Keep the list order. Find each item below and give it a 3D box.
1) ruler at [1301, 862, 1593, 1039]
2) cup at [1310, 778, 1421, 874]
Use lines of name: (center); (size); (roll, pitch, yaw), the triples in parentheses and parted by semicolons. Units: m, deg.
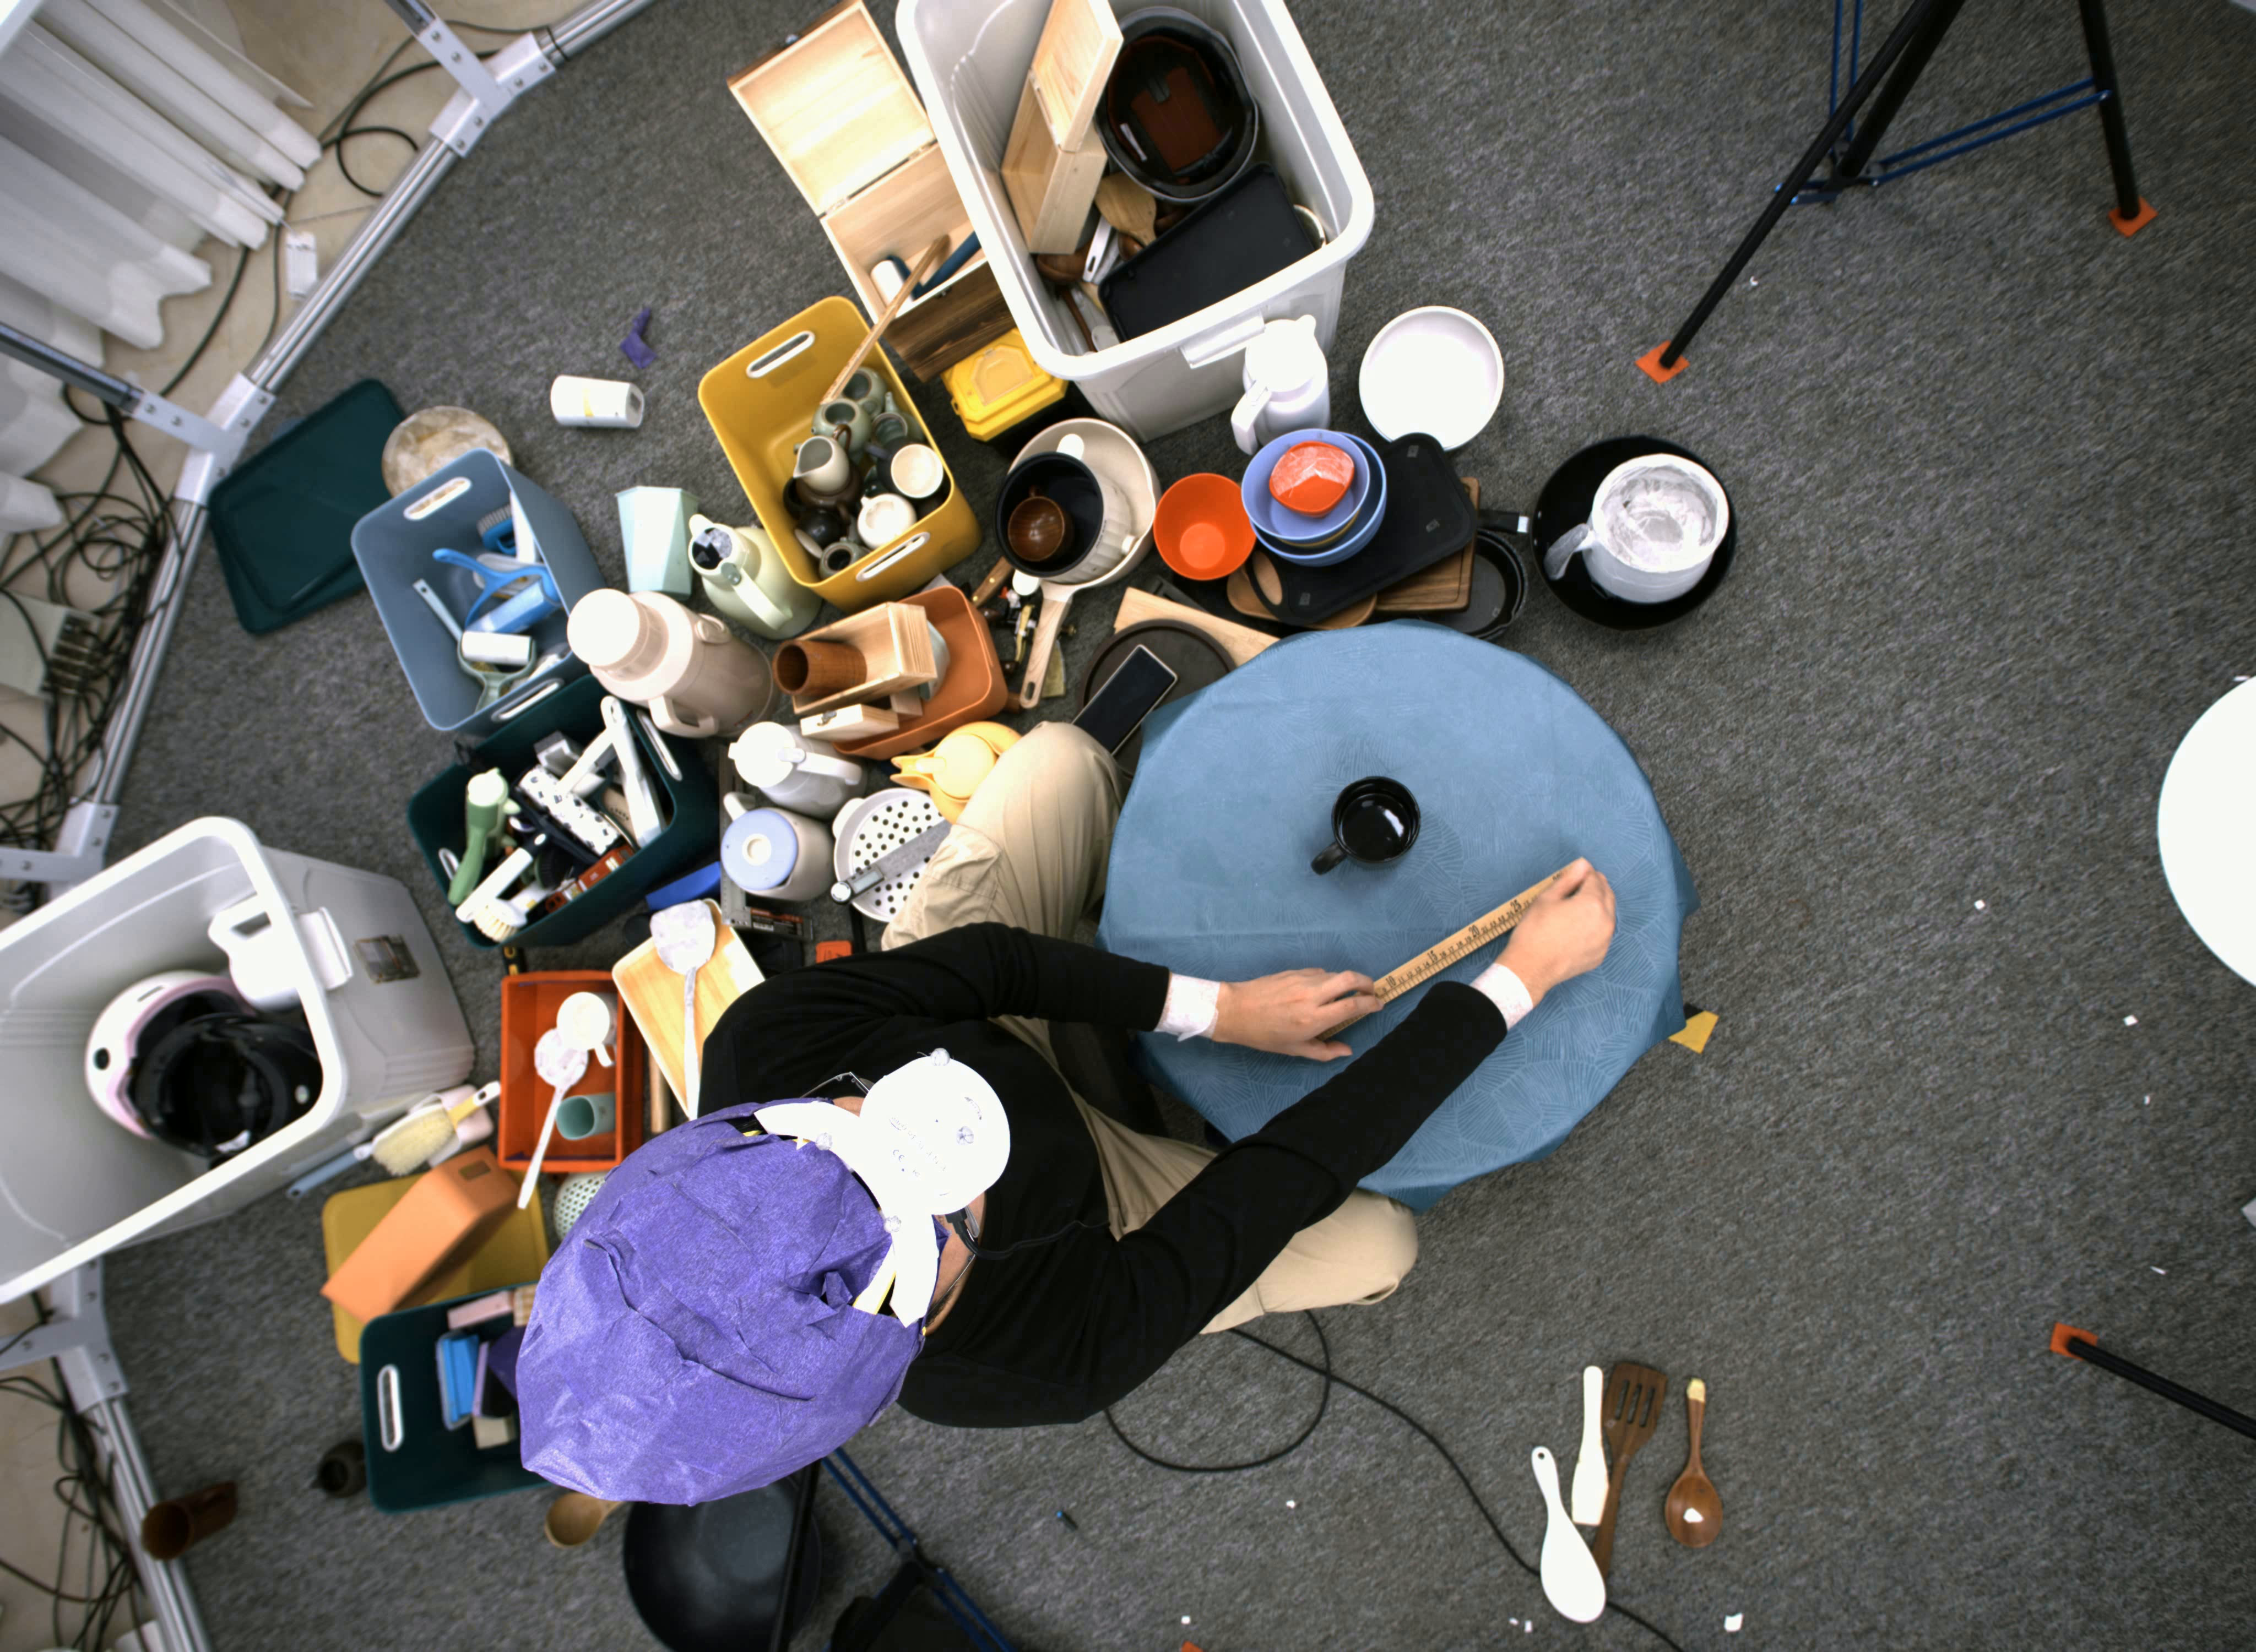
ruler: (0.328, 0.128, 1.424); (0.334, 0.022, 0.027); (-31, 76, 9)
cup: (0.240, 0.008, 1.418); (0.124, 0.105, 0.088); (-36, 82, 6)
